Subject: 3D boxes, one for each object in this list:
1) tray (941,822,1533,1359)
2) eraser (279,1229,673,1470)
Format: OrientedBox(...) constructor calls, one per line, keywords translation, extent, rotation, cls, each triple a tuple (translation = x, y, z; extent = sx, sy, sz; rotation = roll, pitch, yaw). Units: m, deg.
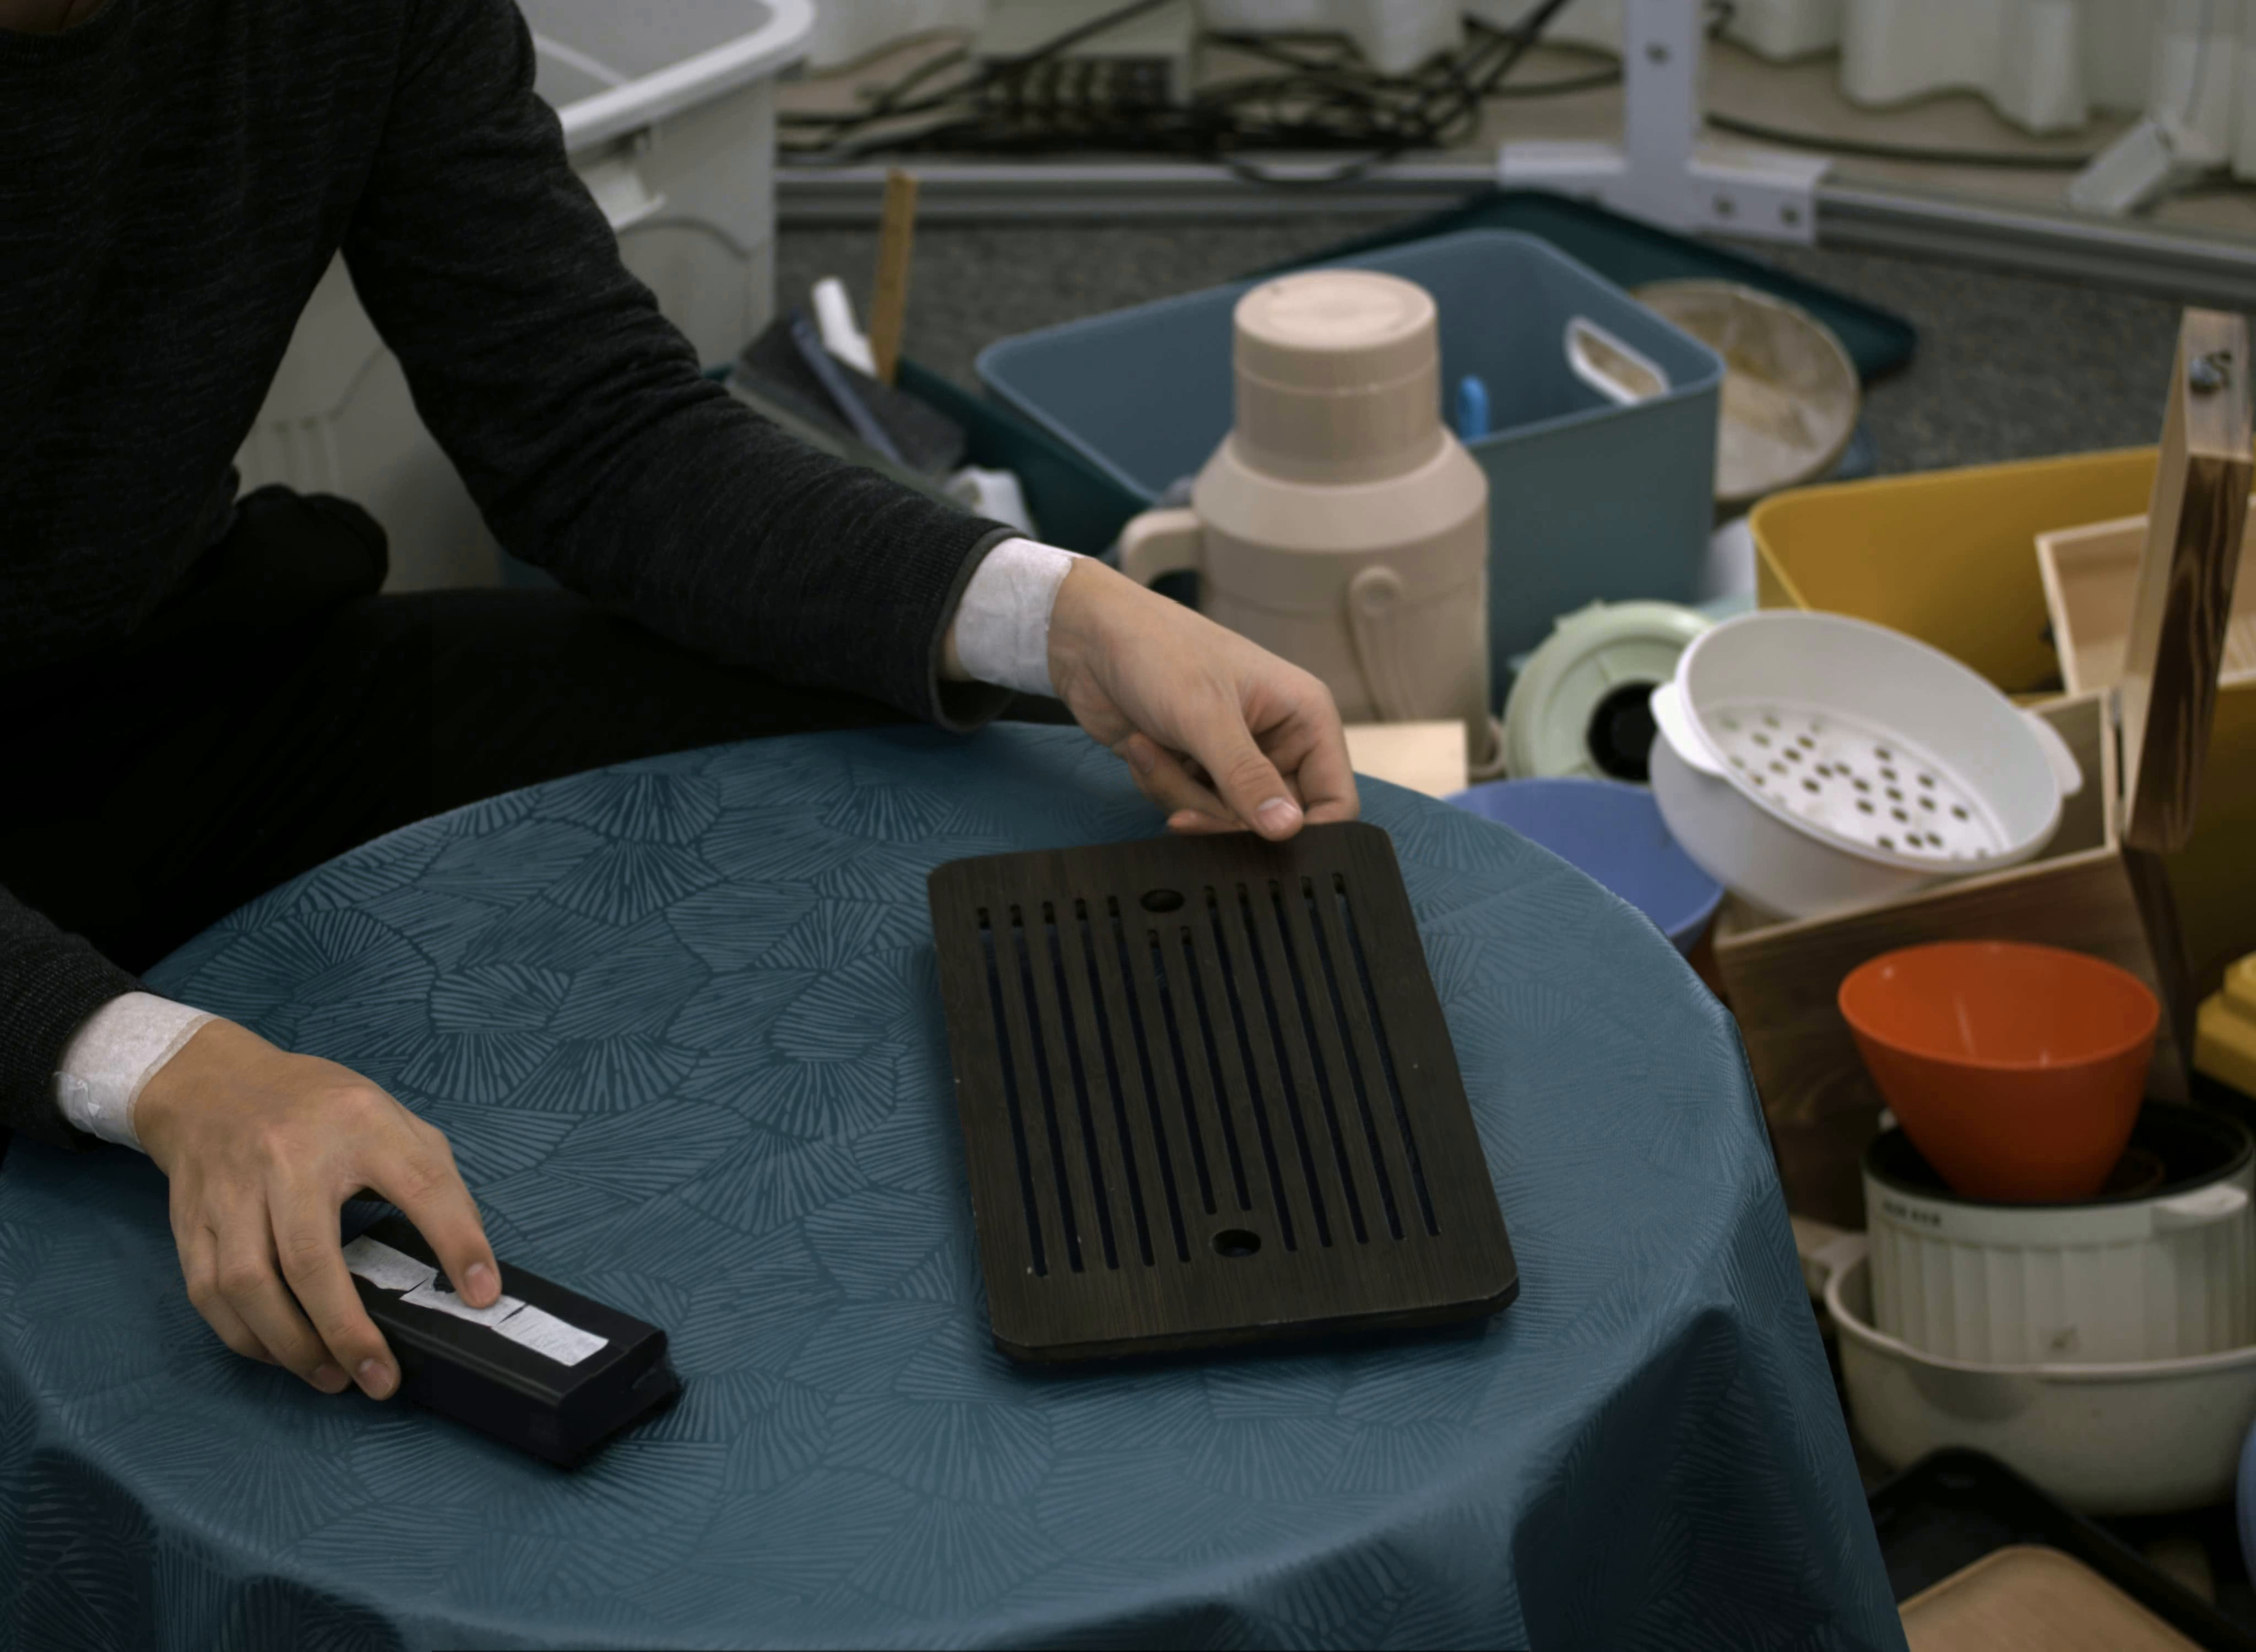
OrientedBox(translation=(0.031, 0.086, 1.897), extent=(0.169, 0.018, 0.310), rotation=(-5, 29, -4), cls="tray")
OrientedBox(translation=(-0.205, 0.165, 1.768), extent=(0.125, 0.030, 0.054), rotation=(16, 31, 34), cls="eraser")
